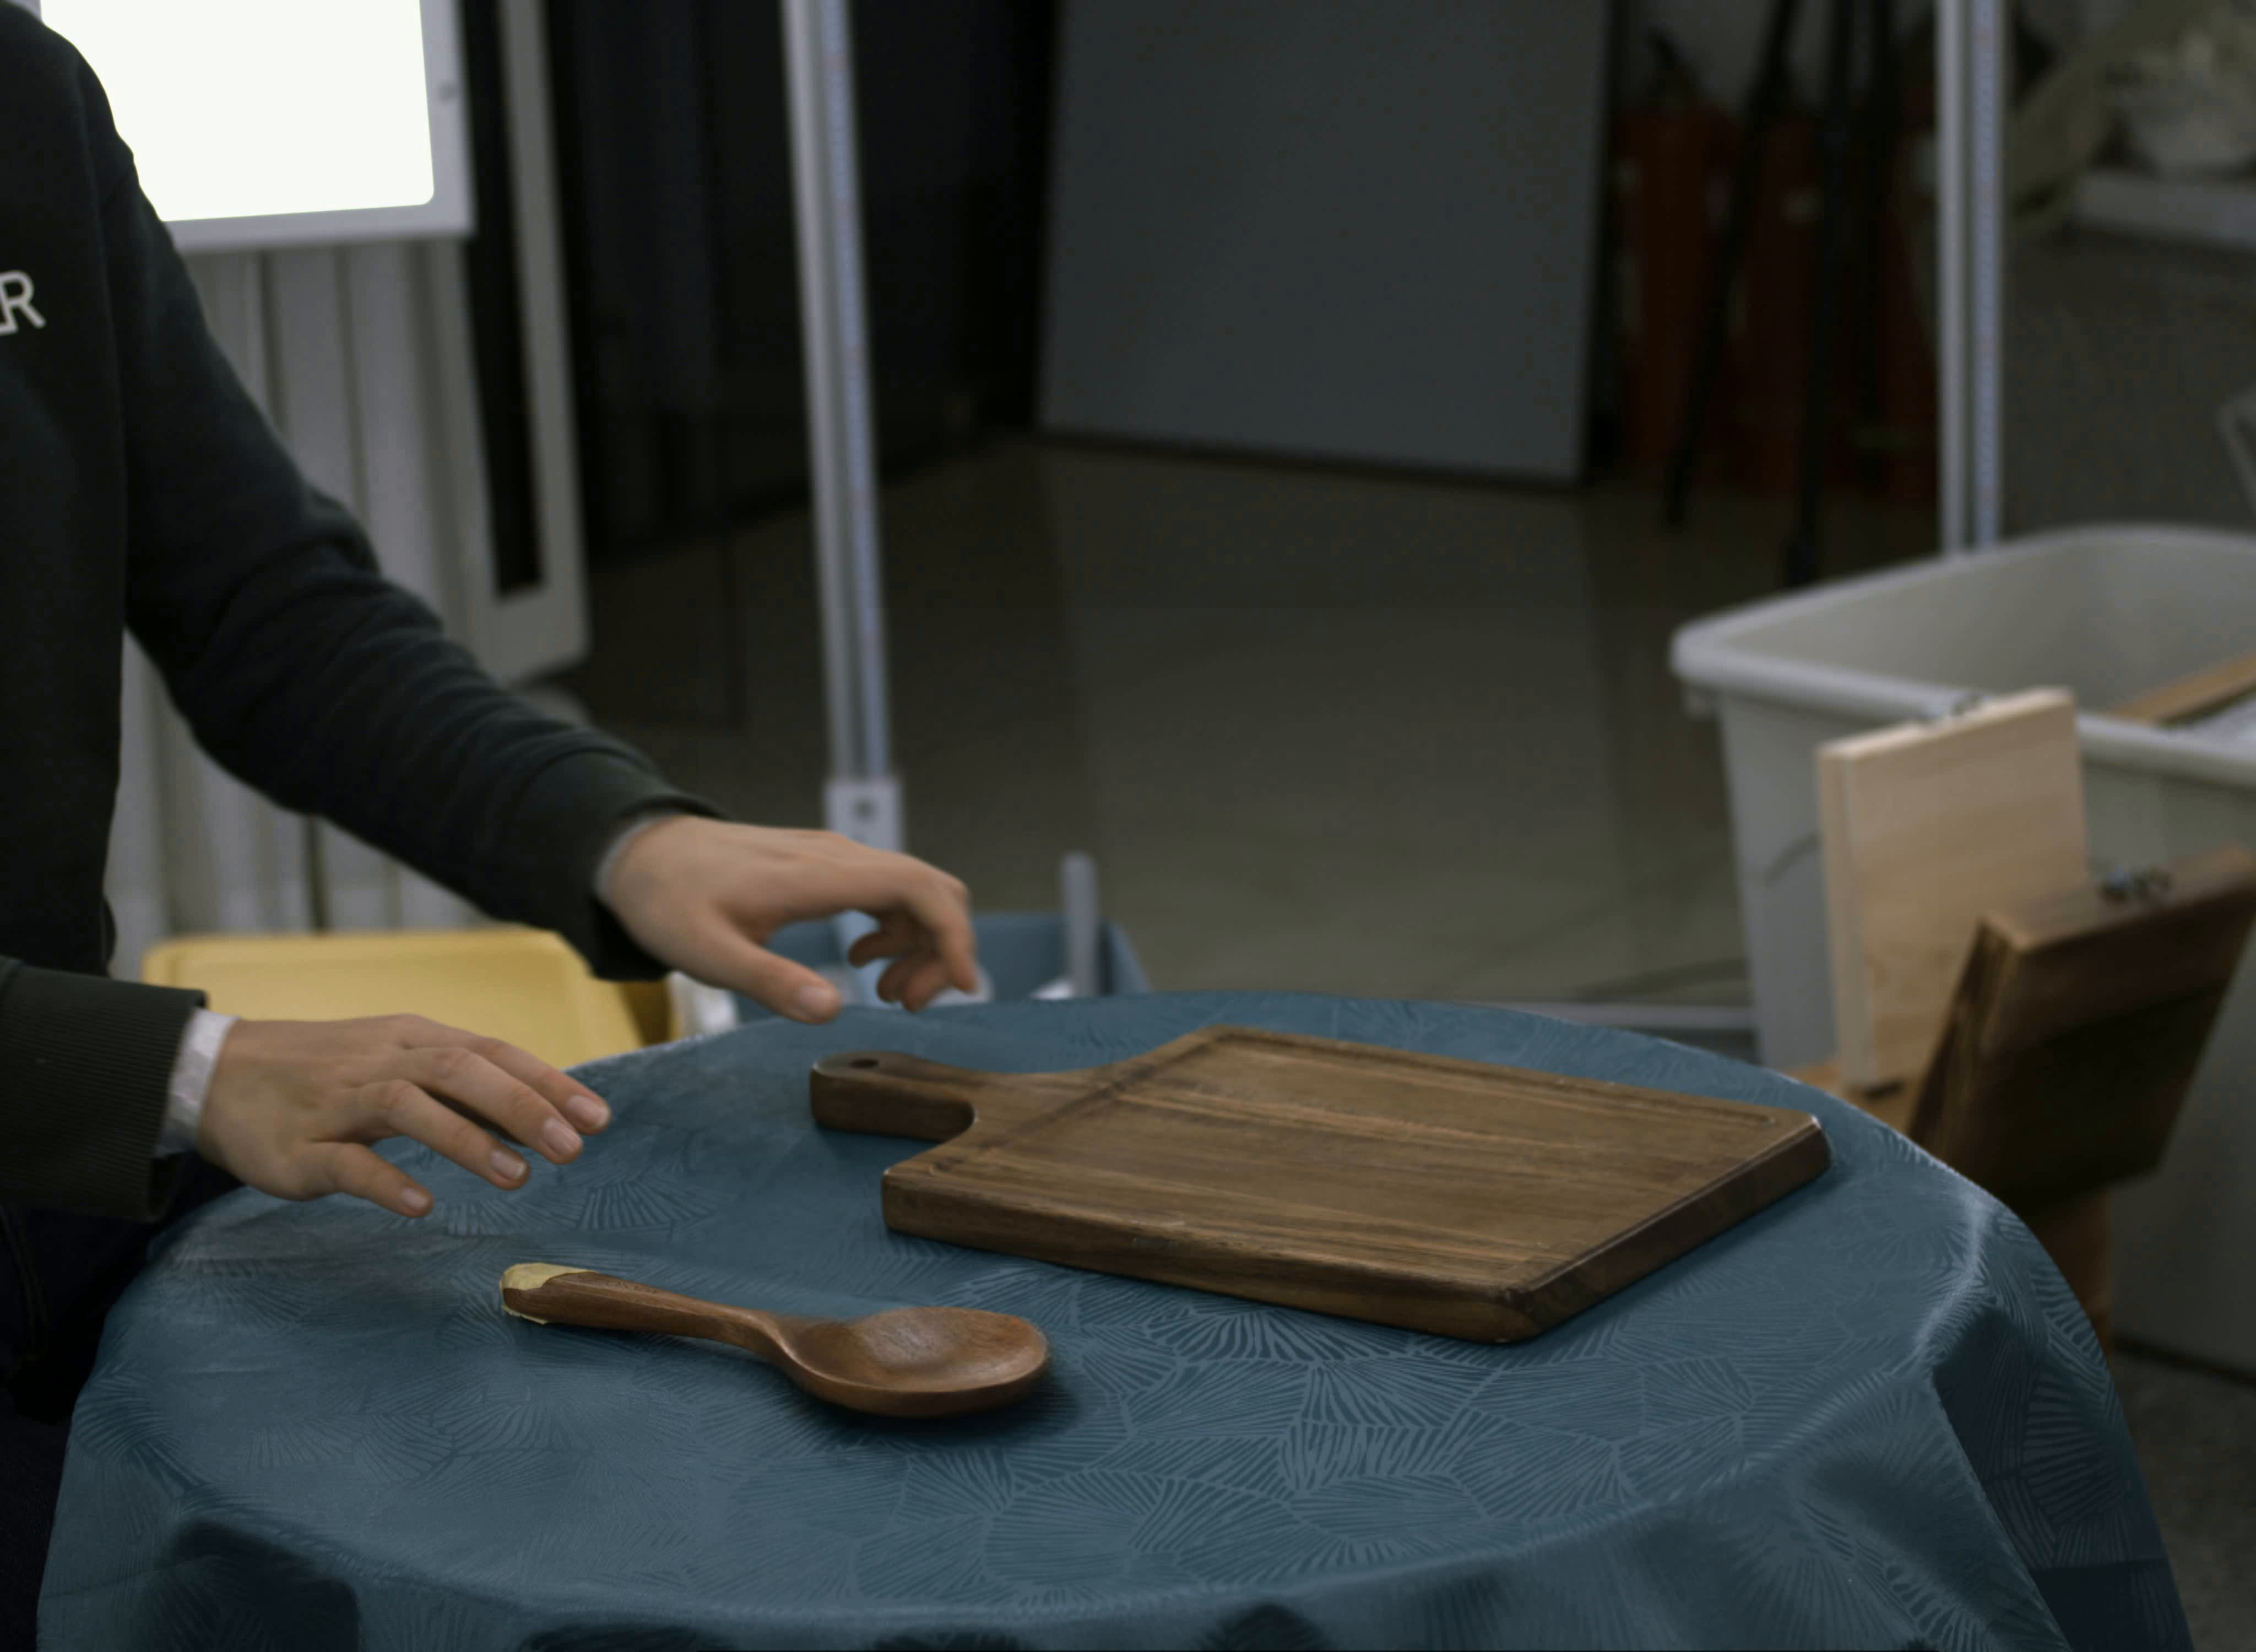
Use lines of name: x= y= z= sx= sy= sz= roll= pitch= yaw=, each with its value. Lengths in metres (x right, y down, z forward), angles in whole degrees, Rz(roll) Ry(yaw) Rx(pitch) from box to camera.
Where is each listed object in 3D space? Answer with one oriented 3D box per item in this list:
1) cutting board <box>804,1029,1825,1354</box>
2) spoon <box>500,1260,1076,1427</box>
cutting board: x=0.034 y=0.109 z=1.773 sx=0.354 sy=0.023 sz=0.197 roll=6 pitch=18 yaw=37
spoon: x=-0.107 y=0.155 z=1.630 sx=0.217 sy=0.017 sz=0.074 roll=8 pitch=20 yaw=38
